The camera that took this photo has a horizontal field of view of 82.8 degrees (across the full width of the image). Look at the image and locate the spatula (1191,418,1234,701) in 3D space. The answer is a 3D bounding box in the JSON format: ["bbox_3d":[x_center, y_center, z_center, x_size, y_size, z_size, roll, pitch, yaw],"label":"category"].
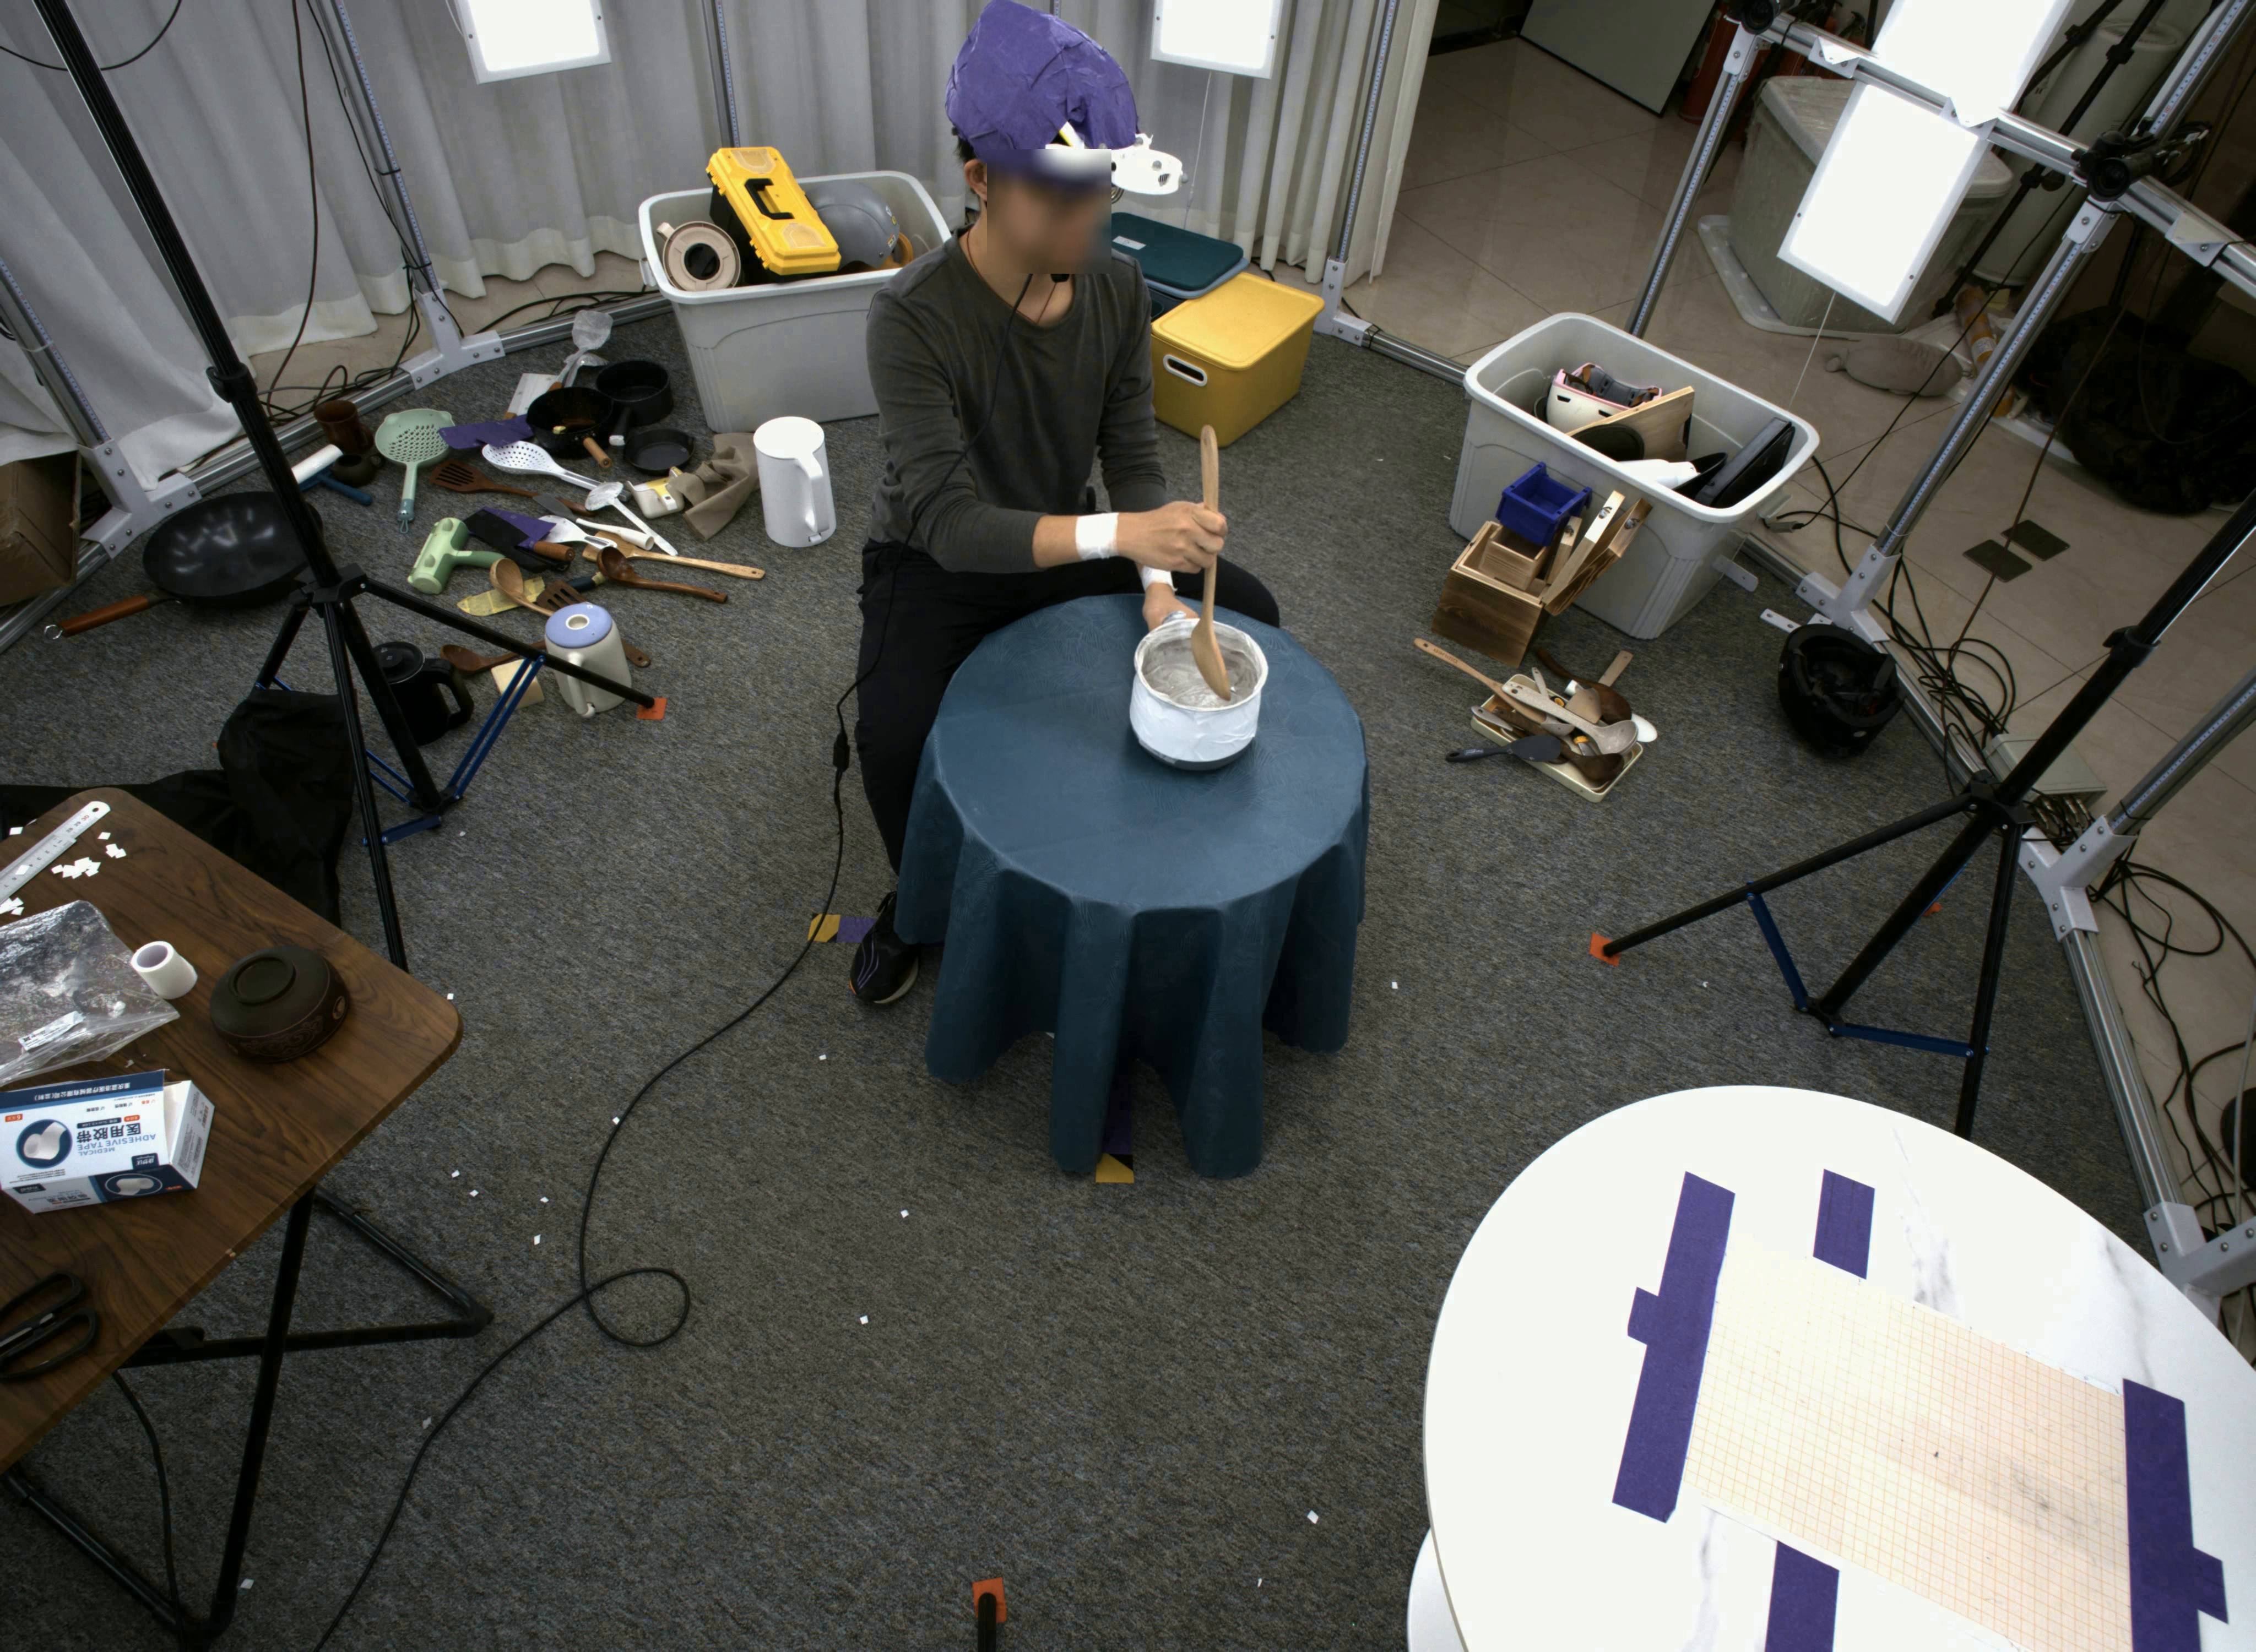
[{"bbox_3d":[0.102,-0.316,1.579,0.018,0.381,0.098,-21,47,-18],"label":"spatula"}]

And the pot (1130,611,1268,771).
[{"bbox_3d":[0.085,-0.194,1.753,0.178,0.133,0.239,-10,51,-13],"label":"pot"}]
